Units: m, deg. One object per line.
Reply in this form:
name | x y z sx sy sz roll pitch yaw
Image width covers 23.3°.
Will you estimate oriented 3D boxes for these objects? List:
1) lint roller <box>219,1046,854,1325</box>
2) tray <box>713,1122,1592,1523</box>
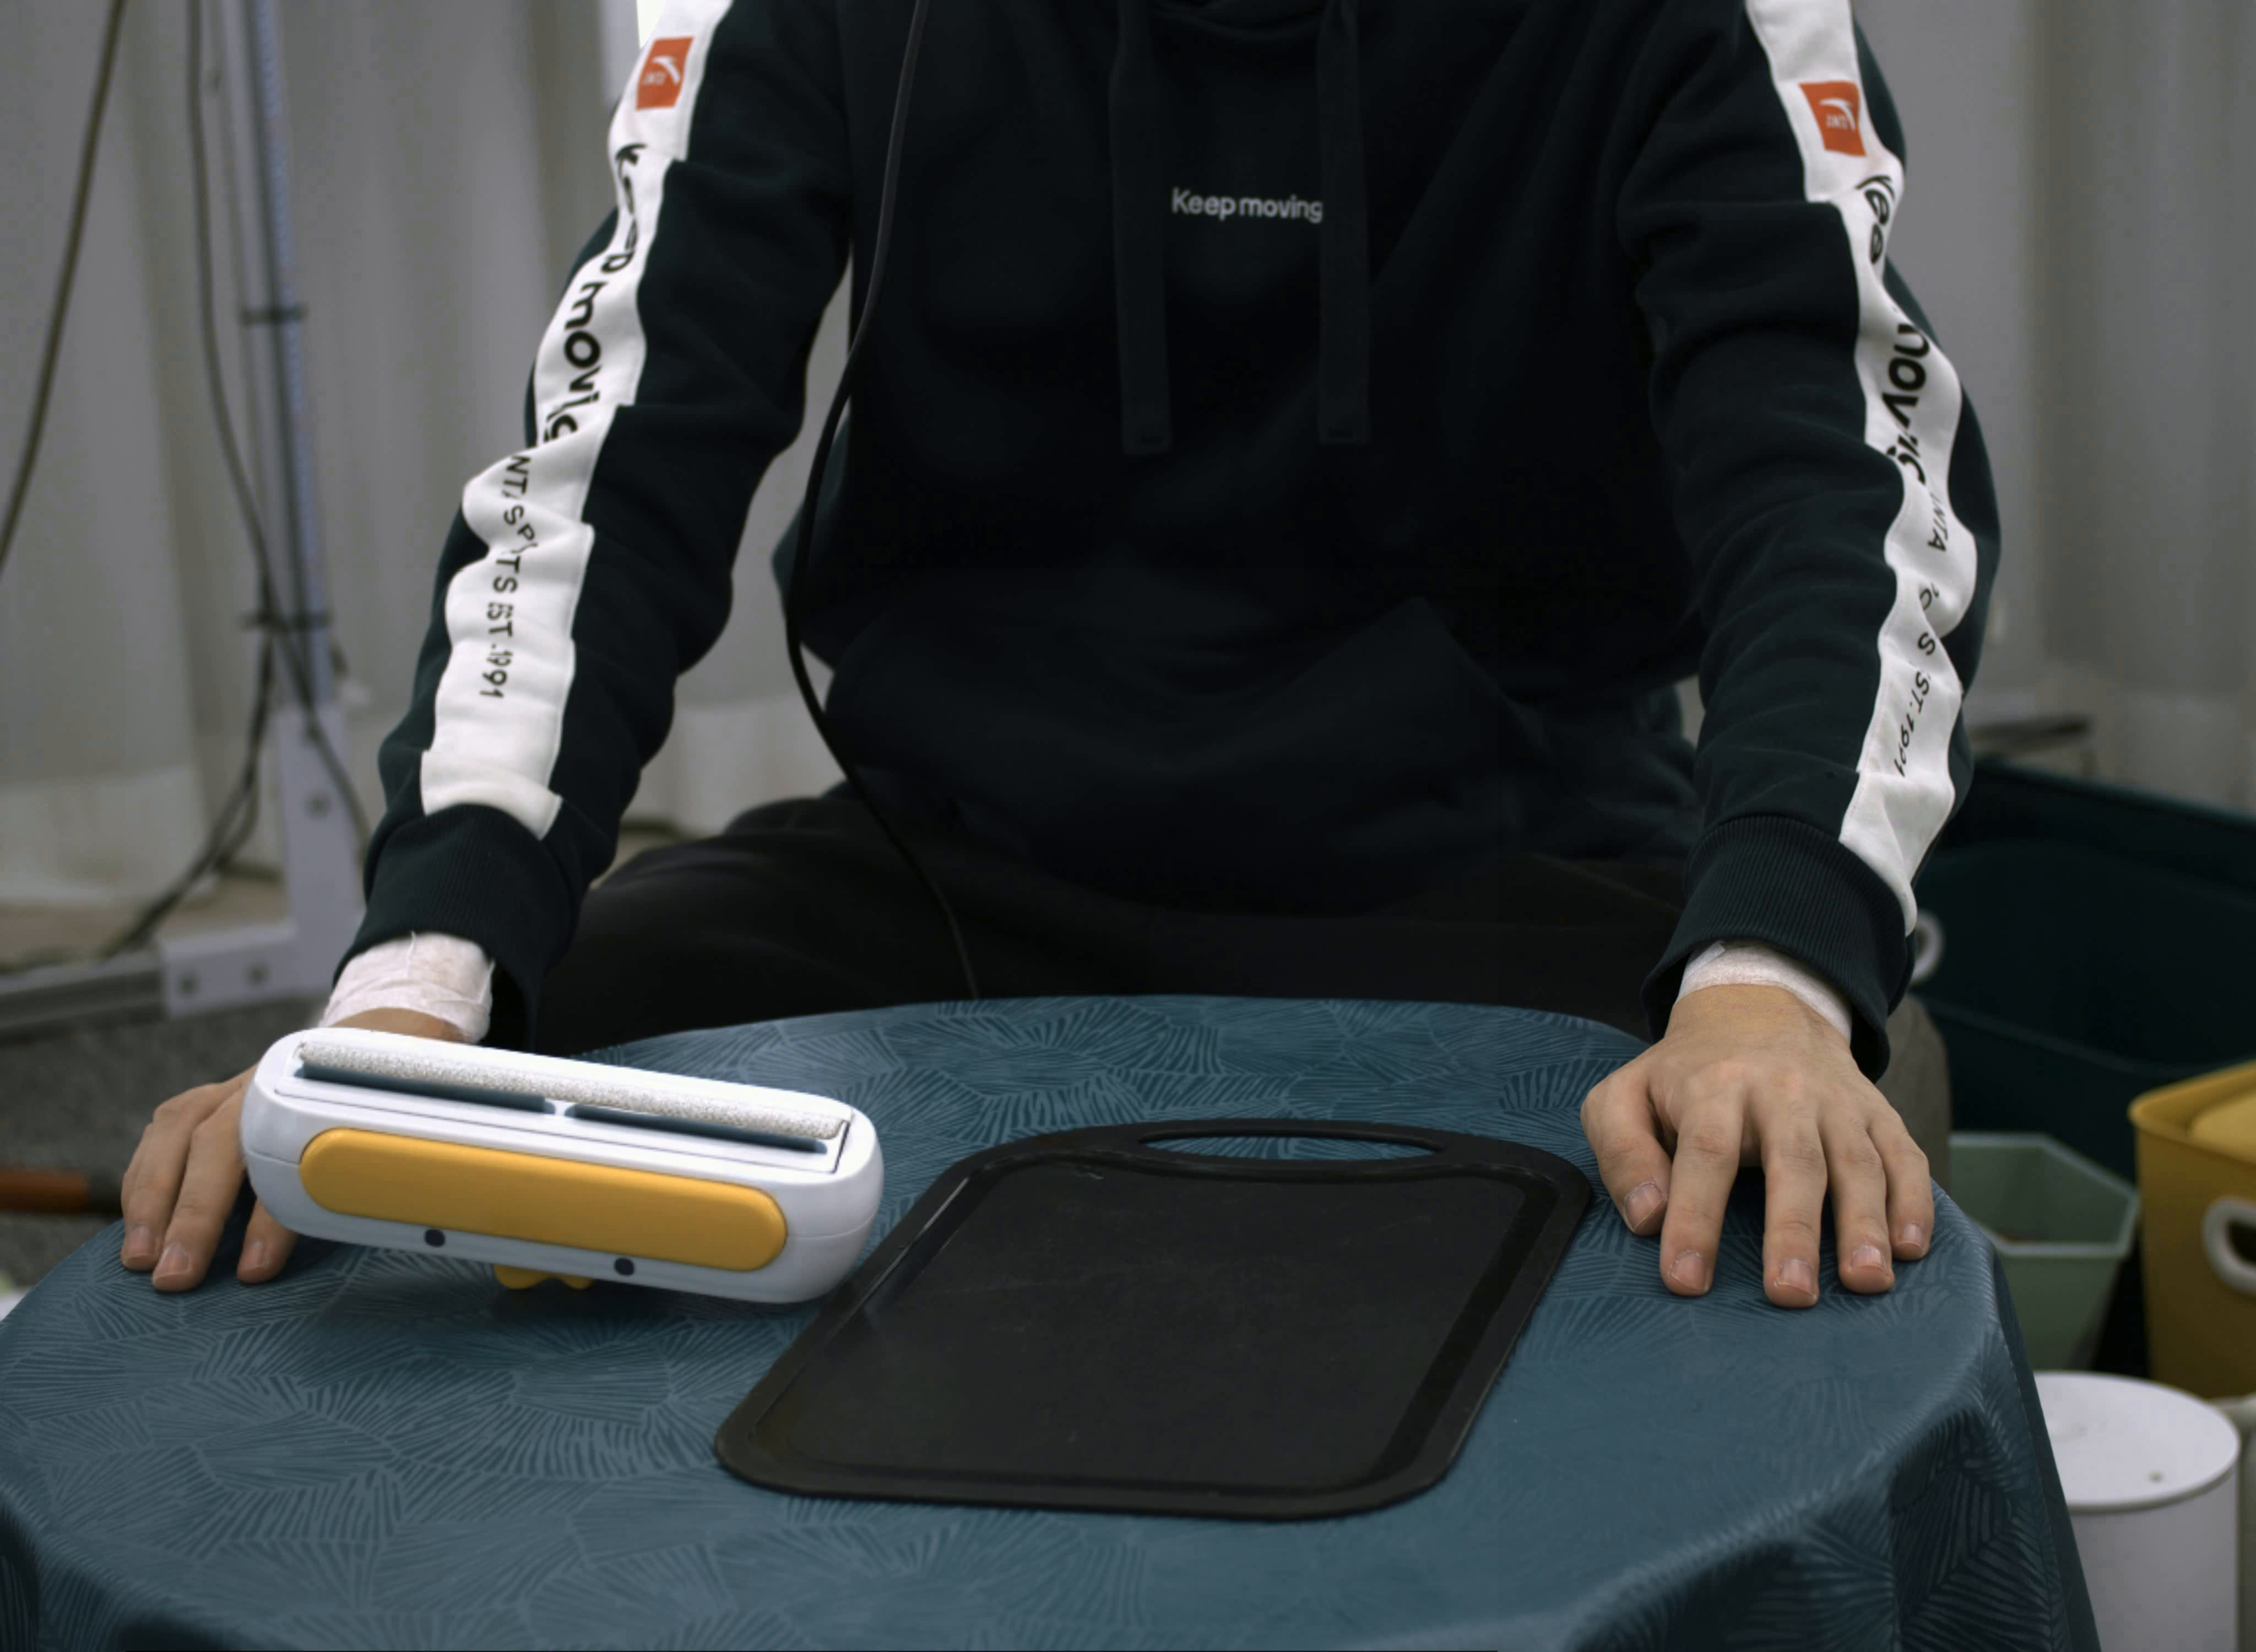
lint roller | -0.169 0.112 1.697 0.192 0.074 0.192 6 2 9
tray | 0.015 0.138 1.612 0.211 0.010 0.327 1 16 15
